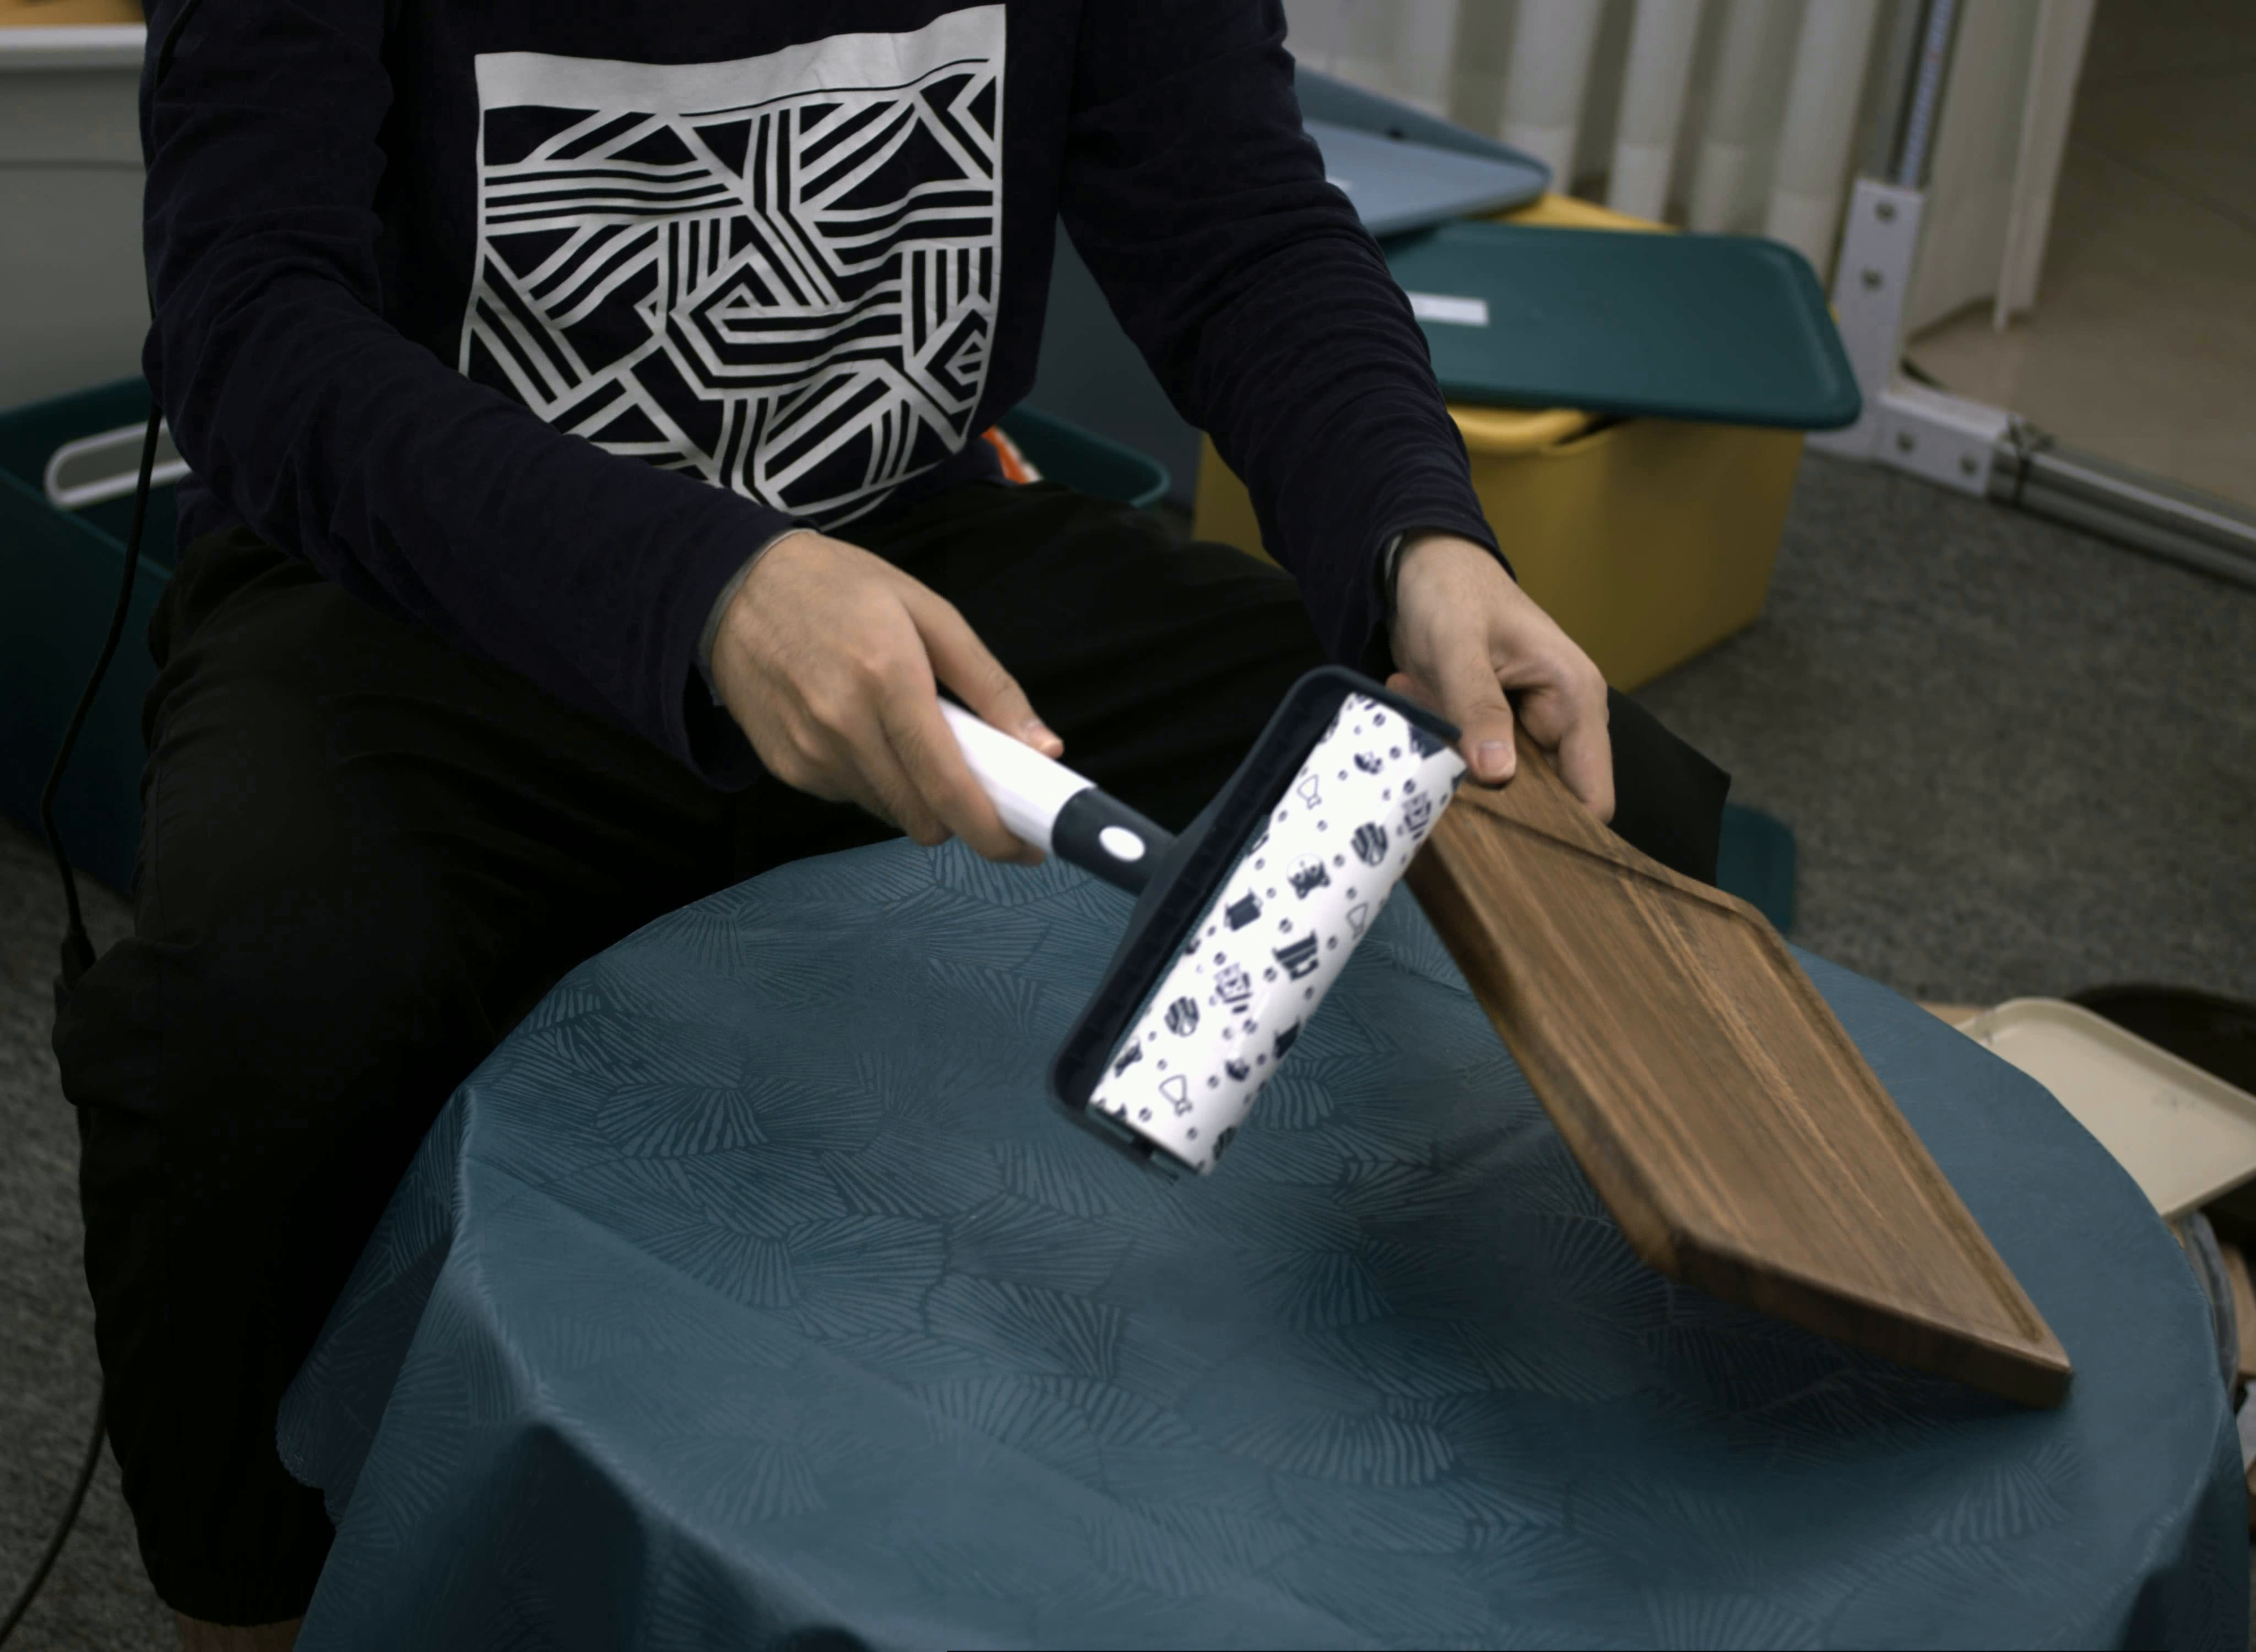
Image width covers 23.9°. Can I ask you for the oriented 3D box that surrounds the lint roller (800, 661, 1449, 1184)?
[{"bbox_3d":[-0.028,-0.003,1.790,0.249,0.176,0.050,28,-7,36],"label":"lint roller"}]

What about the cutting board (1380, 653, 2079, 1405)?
[{"bbox_3d":[0.176,0.053,1.807,0.199,0.023,0.355,20,27,-37],"label":"cutting board"}]
